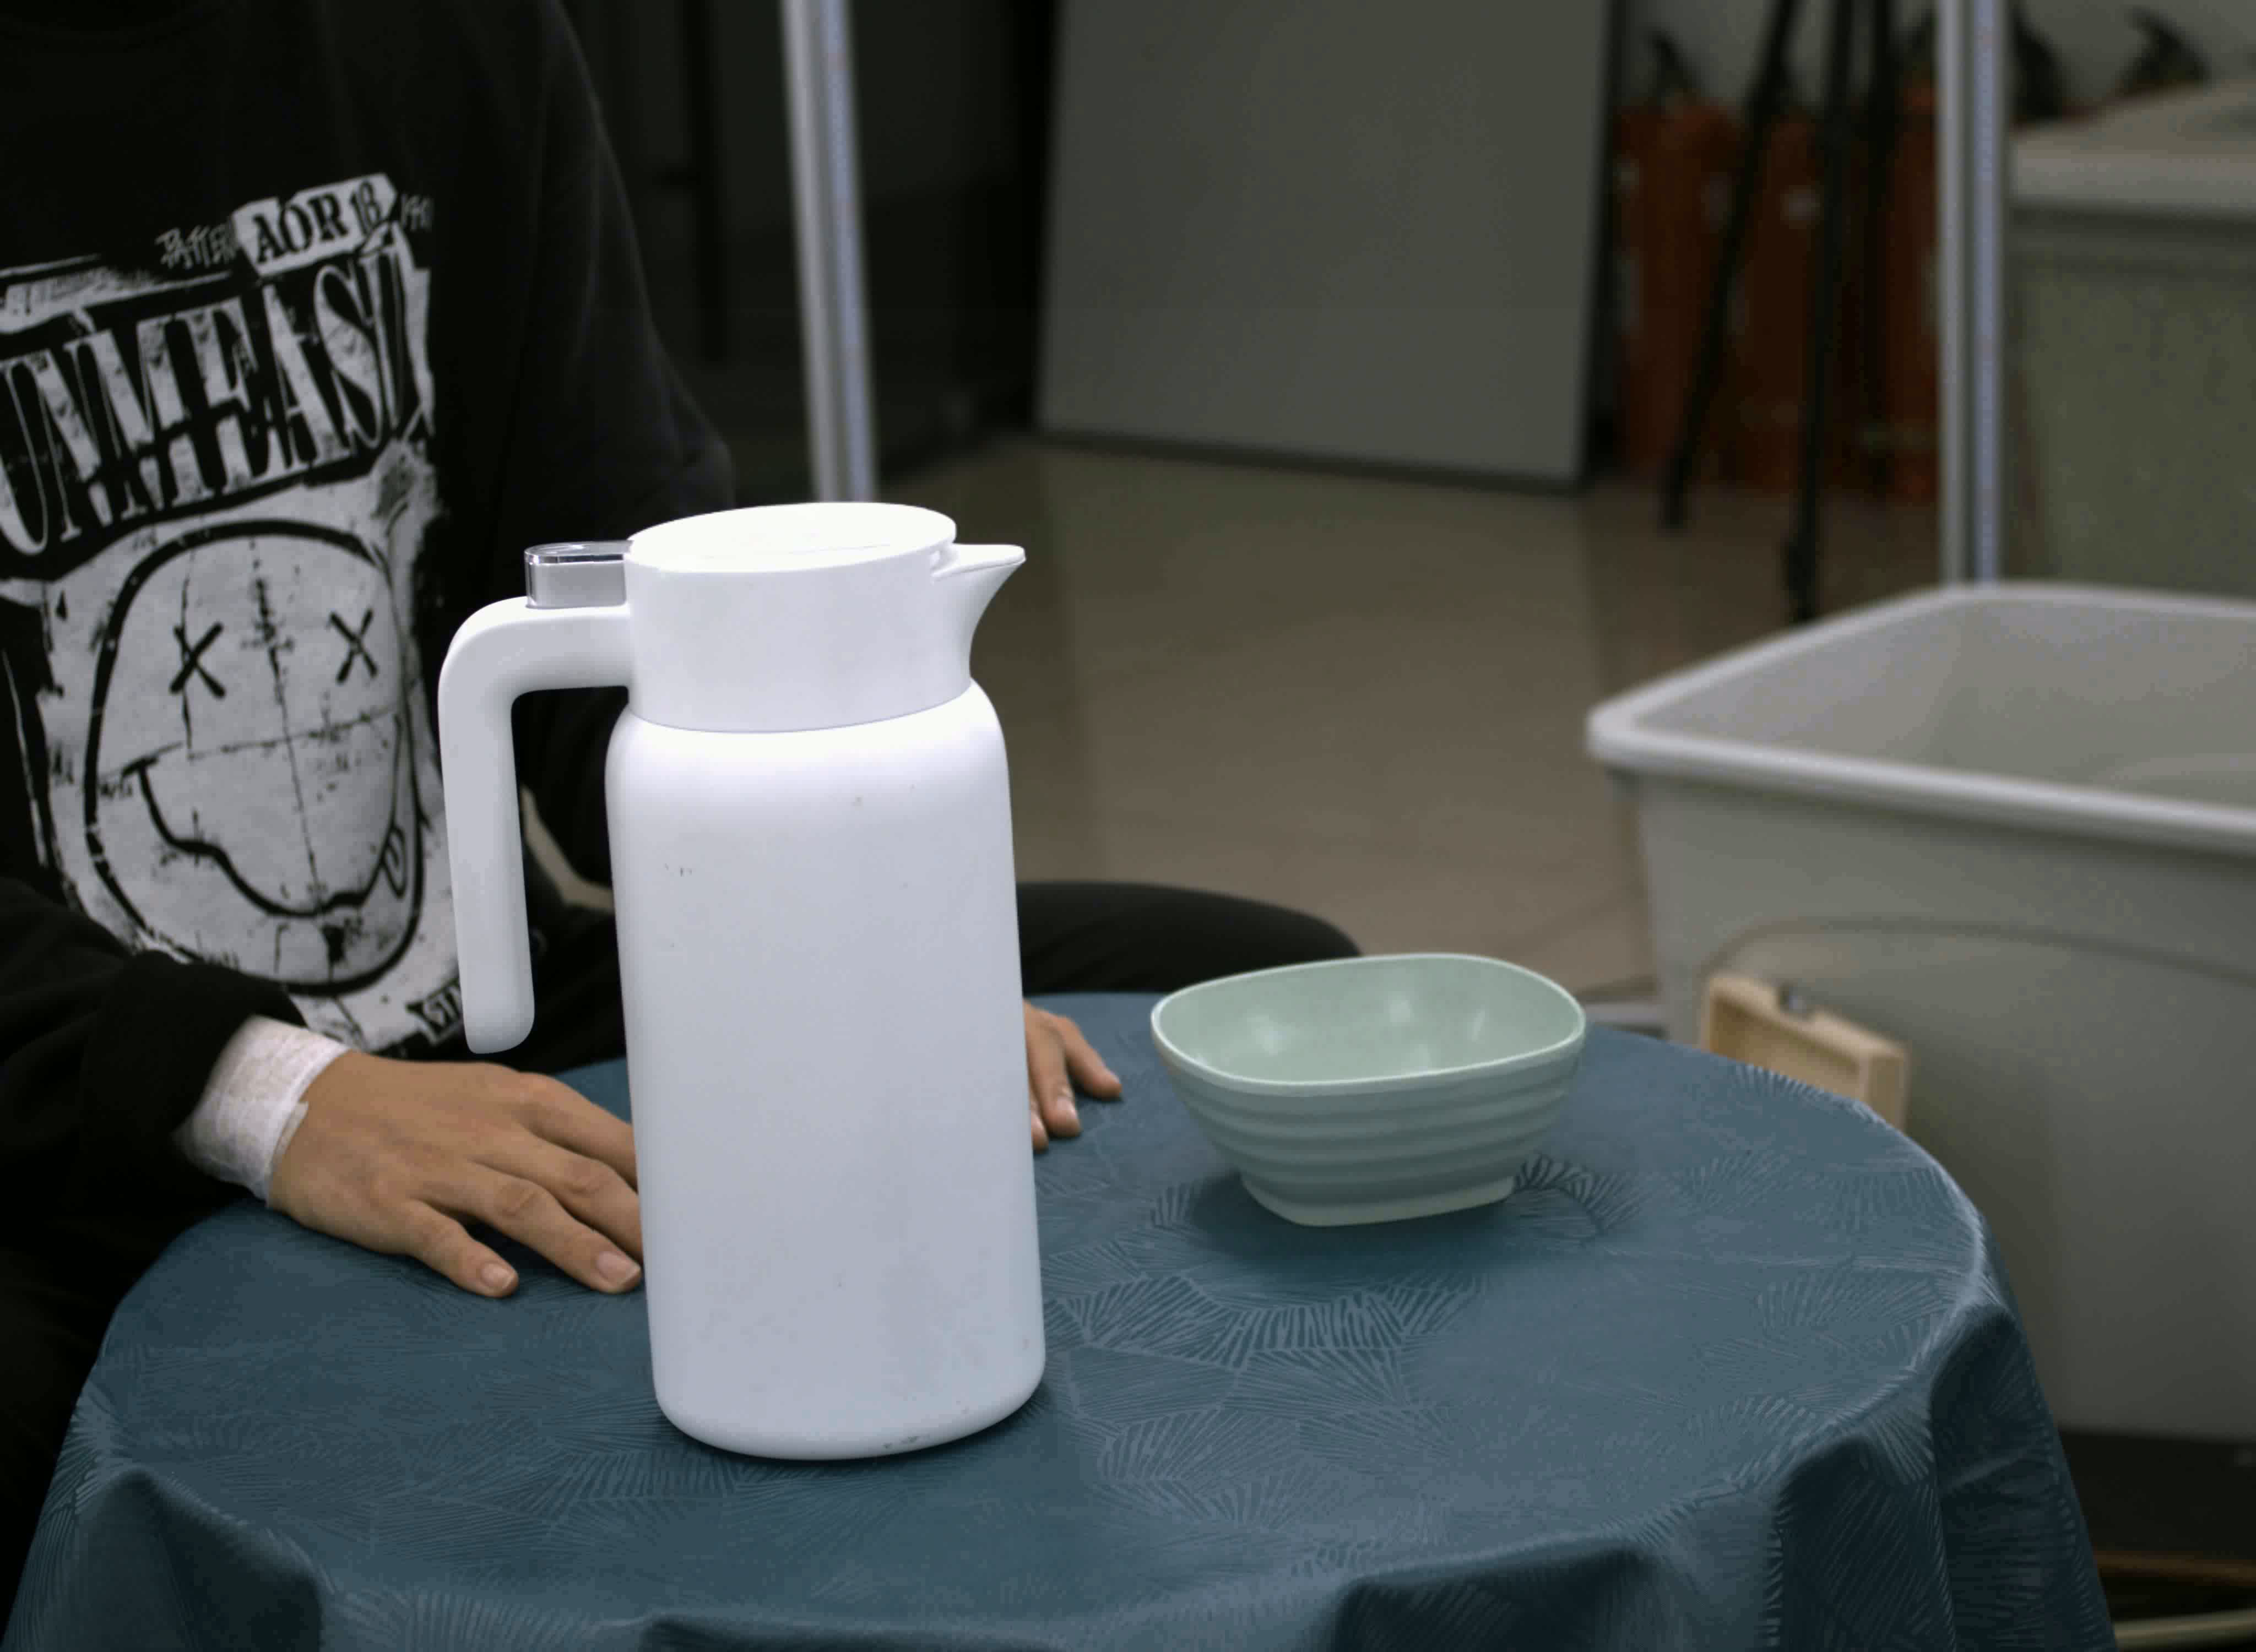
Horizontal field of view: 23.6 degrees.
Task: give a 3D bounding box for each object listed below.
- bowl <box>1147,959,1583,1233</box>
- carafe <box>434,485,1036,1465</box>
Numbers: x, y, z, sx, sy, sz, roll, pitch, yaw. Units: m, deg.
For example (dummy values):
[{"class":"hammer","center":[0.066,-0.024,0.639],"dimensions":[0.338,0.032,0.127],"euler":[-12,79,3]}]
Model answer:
[{"class":"bowl","center":[0.078,0.091,1.759],"dimensions":[0.149,0.059,0.152],"euler":[-4,14,0]},{"class":"carafe","center":[-0.108,0.043,1.564],"dimensions":[0.170,0.272,0.124],"euler":[-4,15,-2]}]
